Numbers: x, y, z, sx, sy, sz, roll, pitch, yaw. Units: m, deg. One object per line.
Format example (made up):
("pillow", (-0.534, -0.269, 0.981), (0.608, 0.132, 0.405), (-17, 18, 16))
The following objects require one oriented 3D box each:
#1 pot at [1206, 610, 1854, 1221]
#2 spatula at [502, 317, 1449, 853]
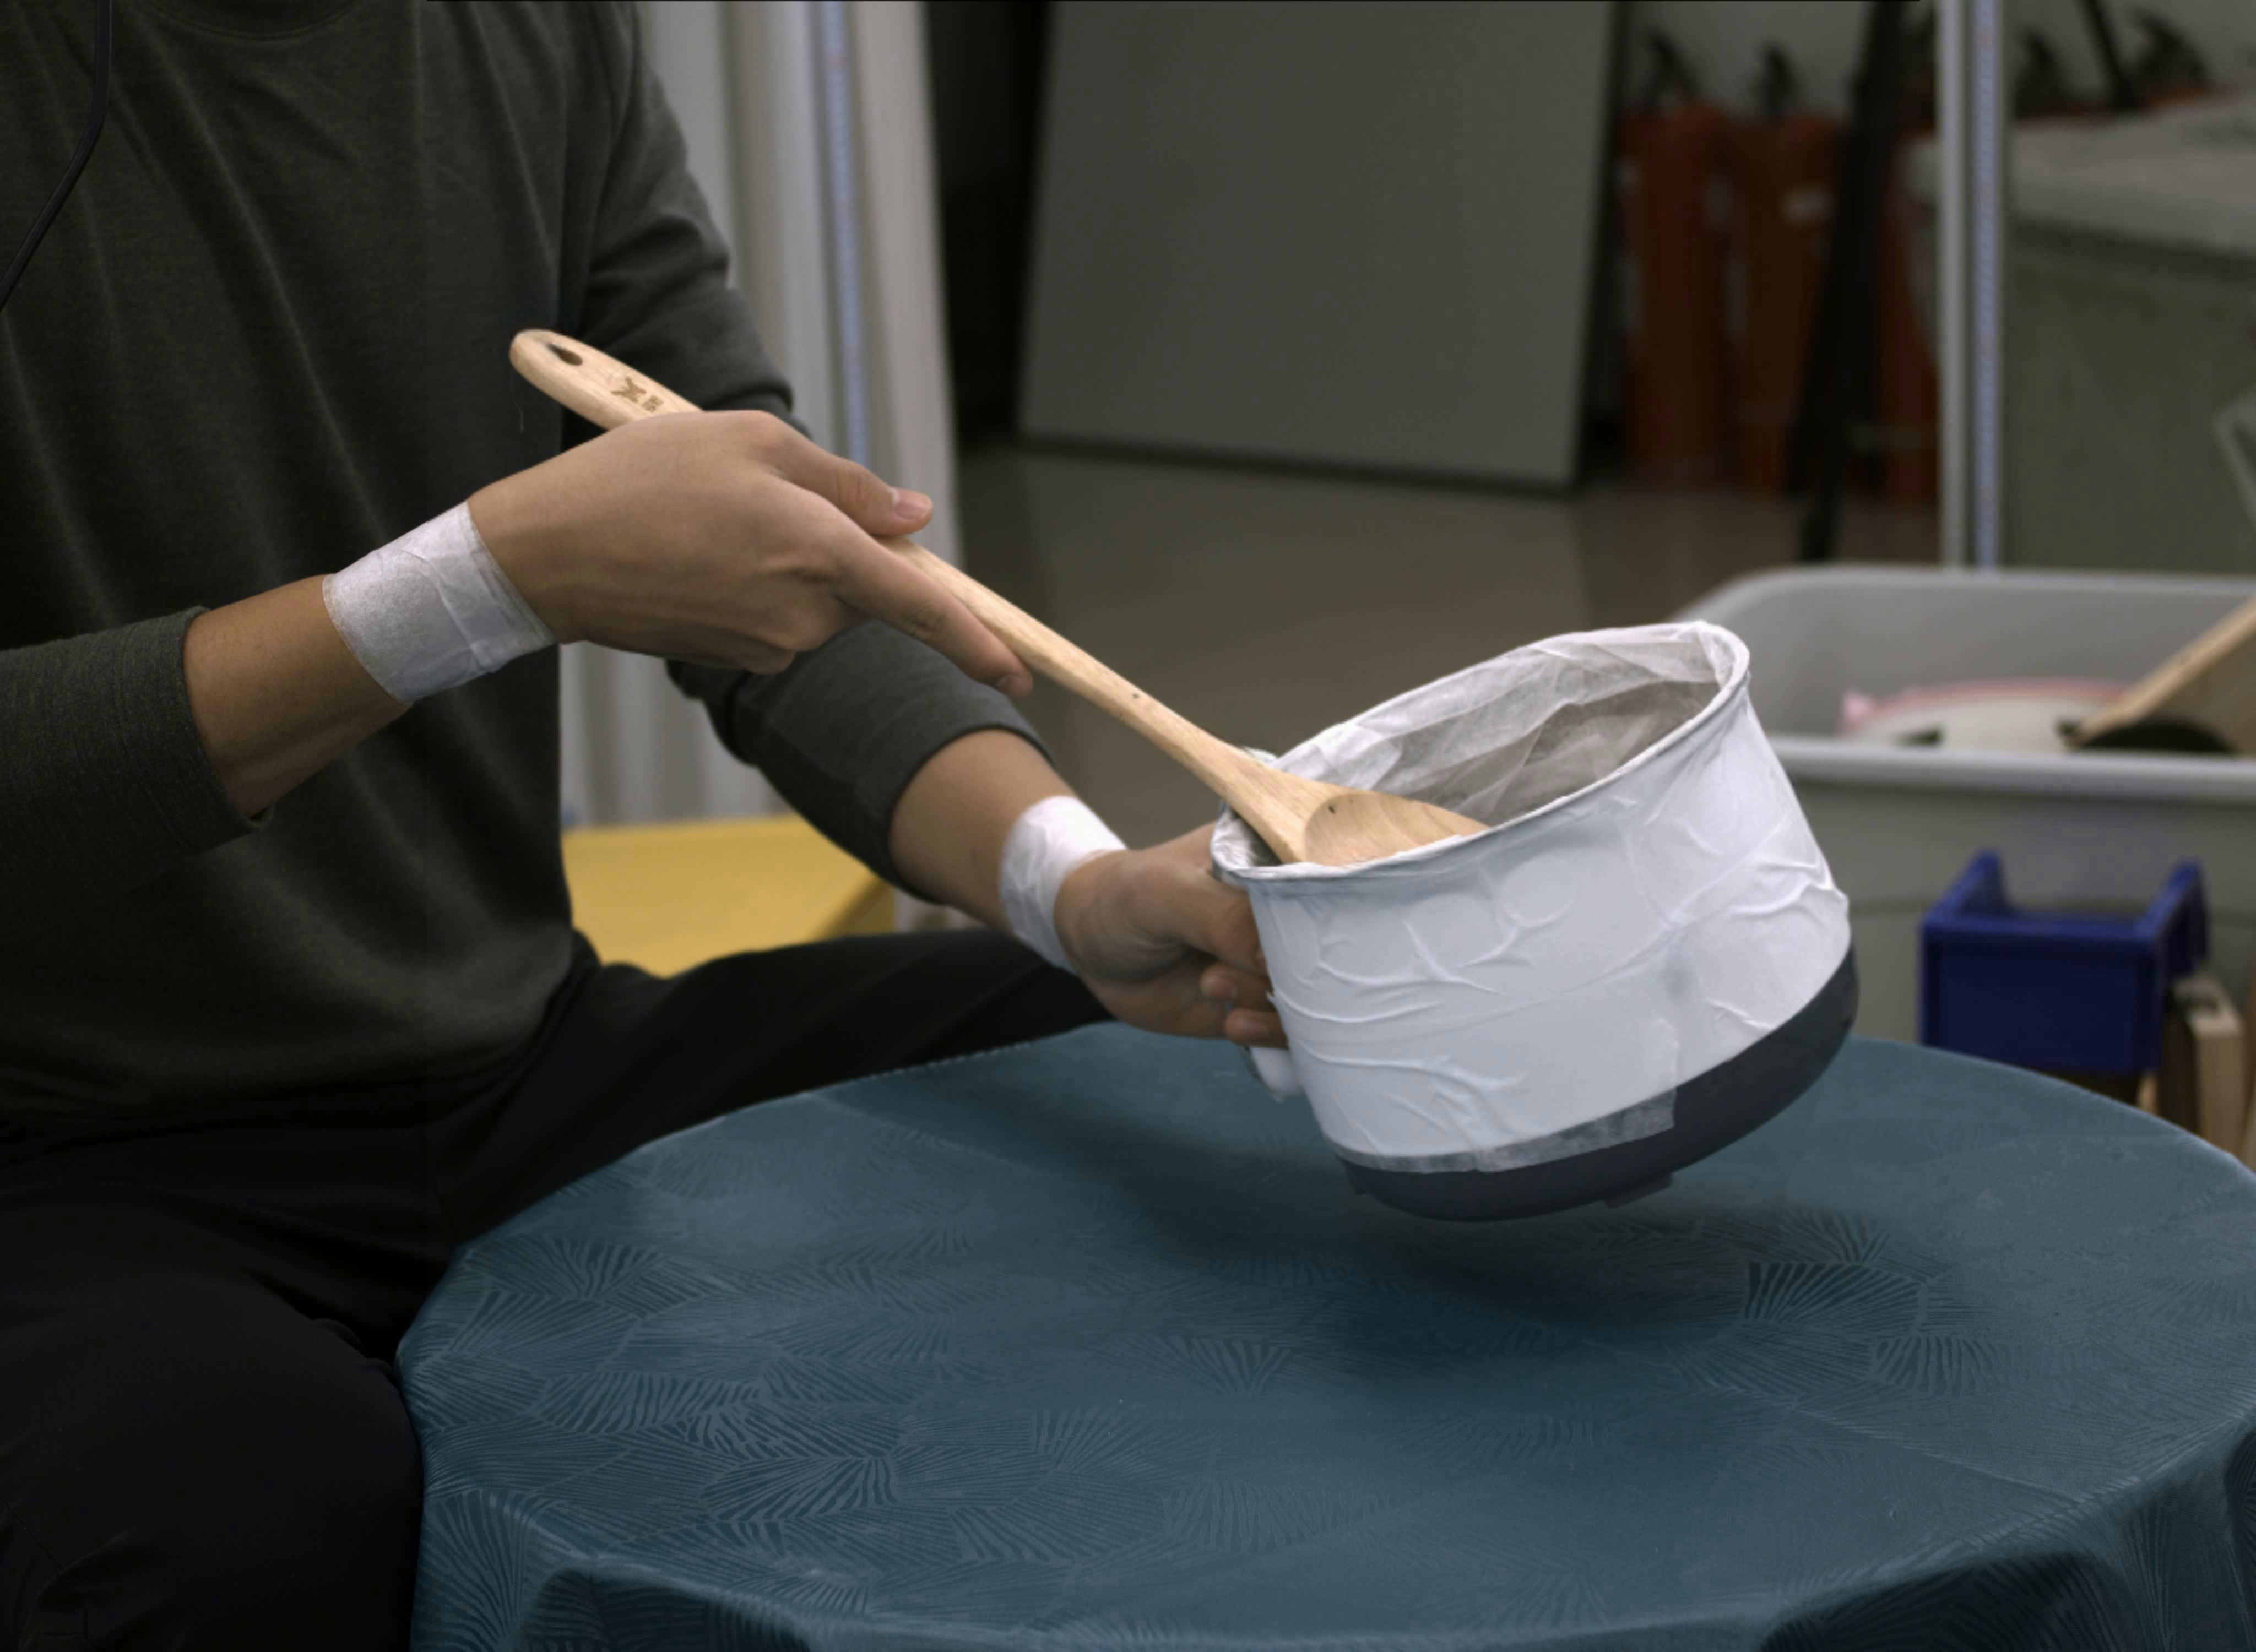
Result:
("pot", (0.109, 0.032, 1.679), (0.236, 0.137, 0.176), (-6, 21, 48))
("spatula", (-0.031, -0.056, 1.684), (0.389, 0.018, 0.095), (32, 31, 5))
